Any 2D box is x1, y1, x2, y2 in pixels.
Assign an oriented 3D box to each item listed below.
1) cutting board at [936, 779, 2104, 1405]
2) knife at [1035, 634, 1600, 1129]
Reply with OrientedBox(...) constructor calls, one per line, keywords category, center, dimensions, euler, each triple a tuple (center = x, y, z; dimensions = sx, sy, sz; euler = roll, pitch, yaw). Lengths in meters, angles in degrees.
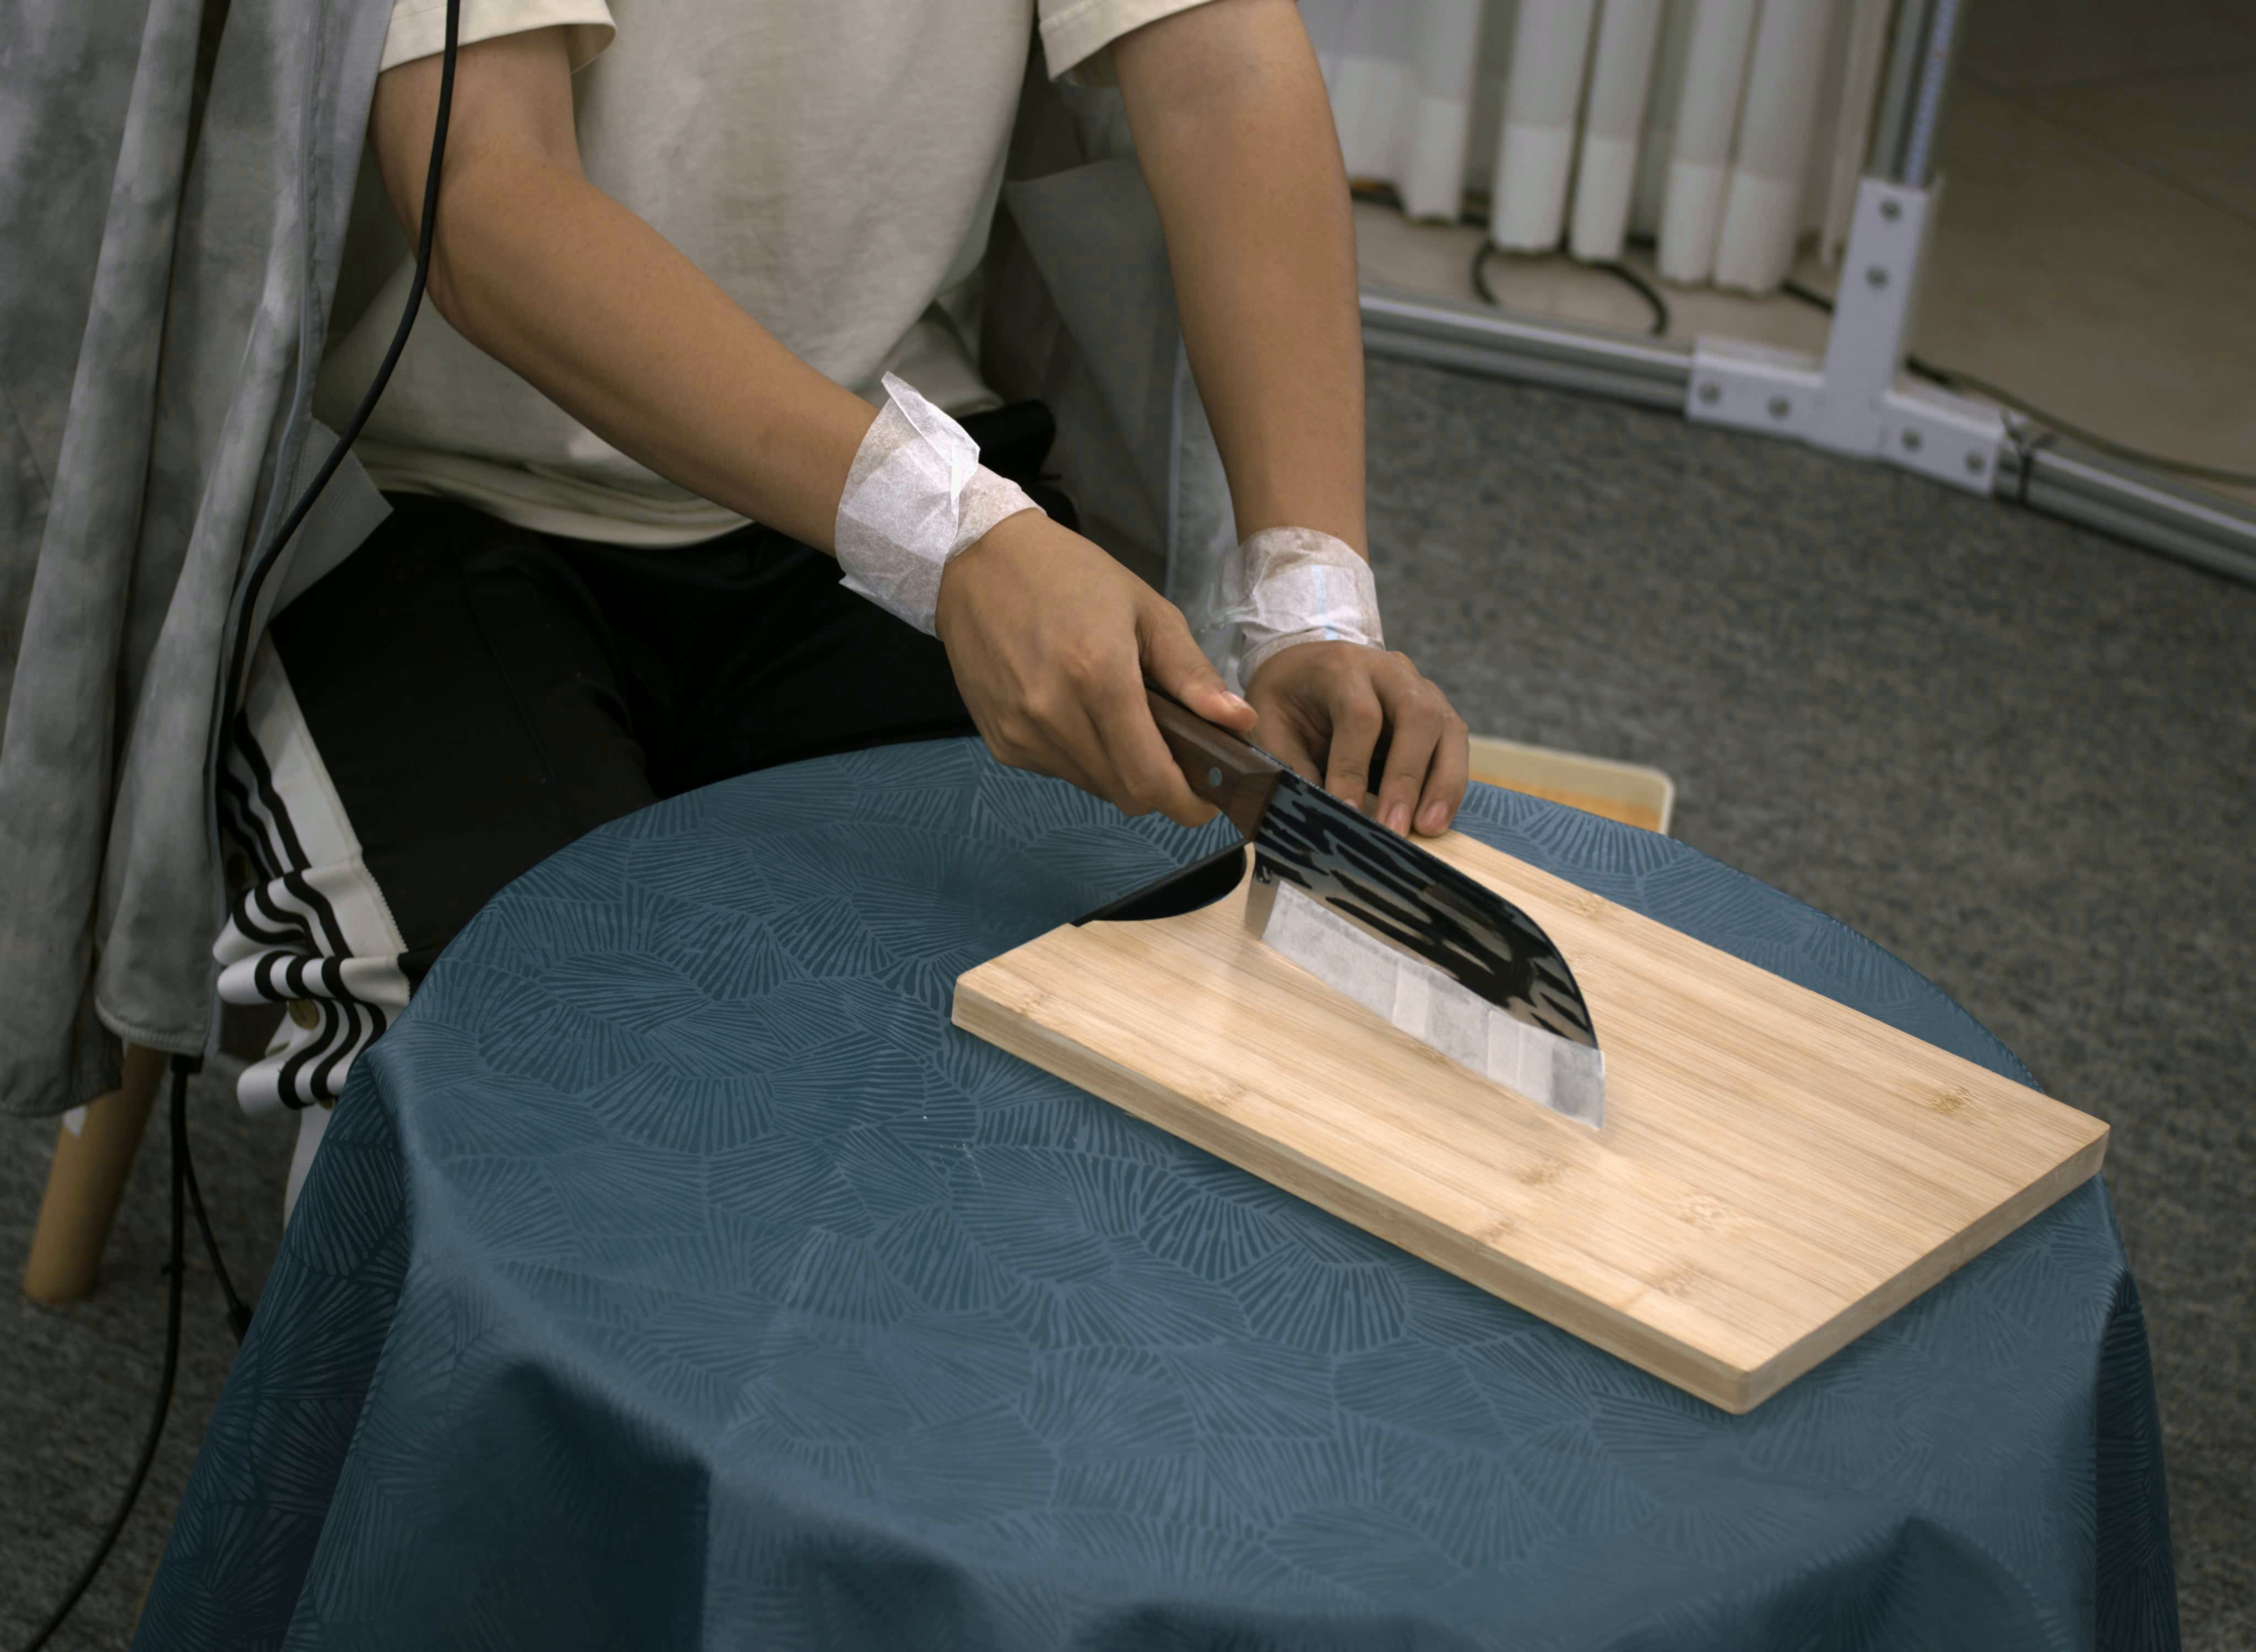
OrientedBox(category="cutting board", center=(0.138, 0.087, 1.891), dimensions=(0.351, 0.023, 0.250), euler=(24, 31, 31))
OrientedBox(category="knife", center=(0.066, 0.018, 1.907), dimensions=(0.024, 0.068, 0.302), euler=(-11, 34, -44))
